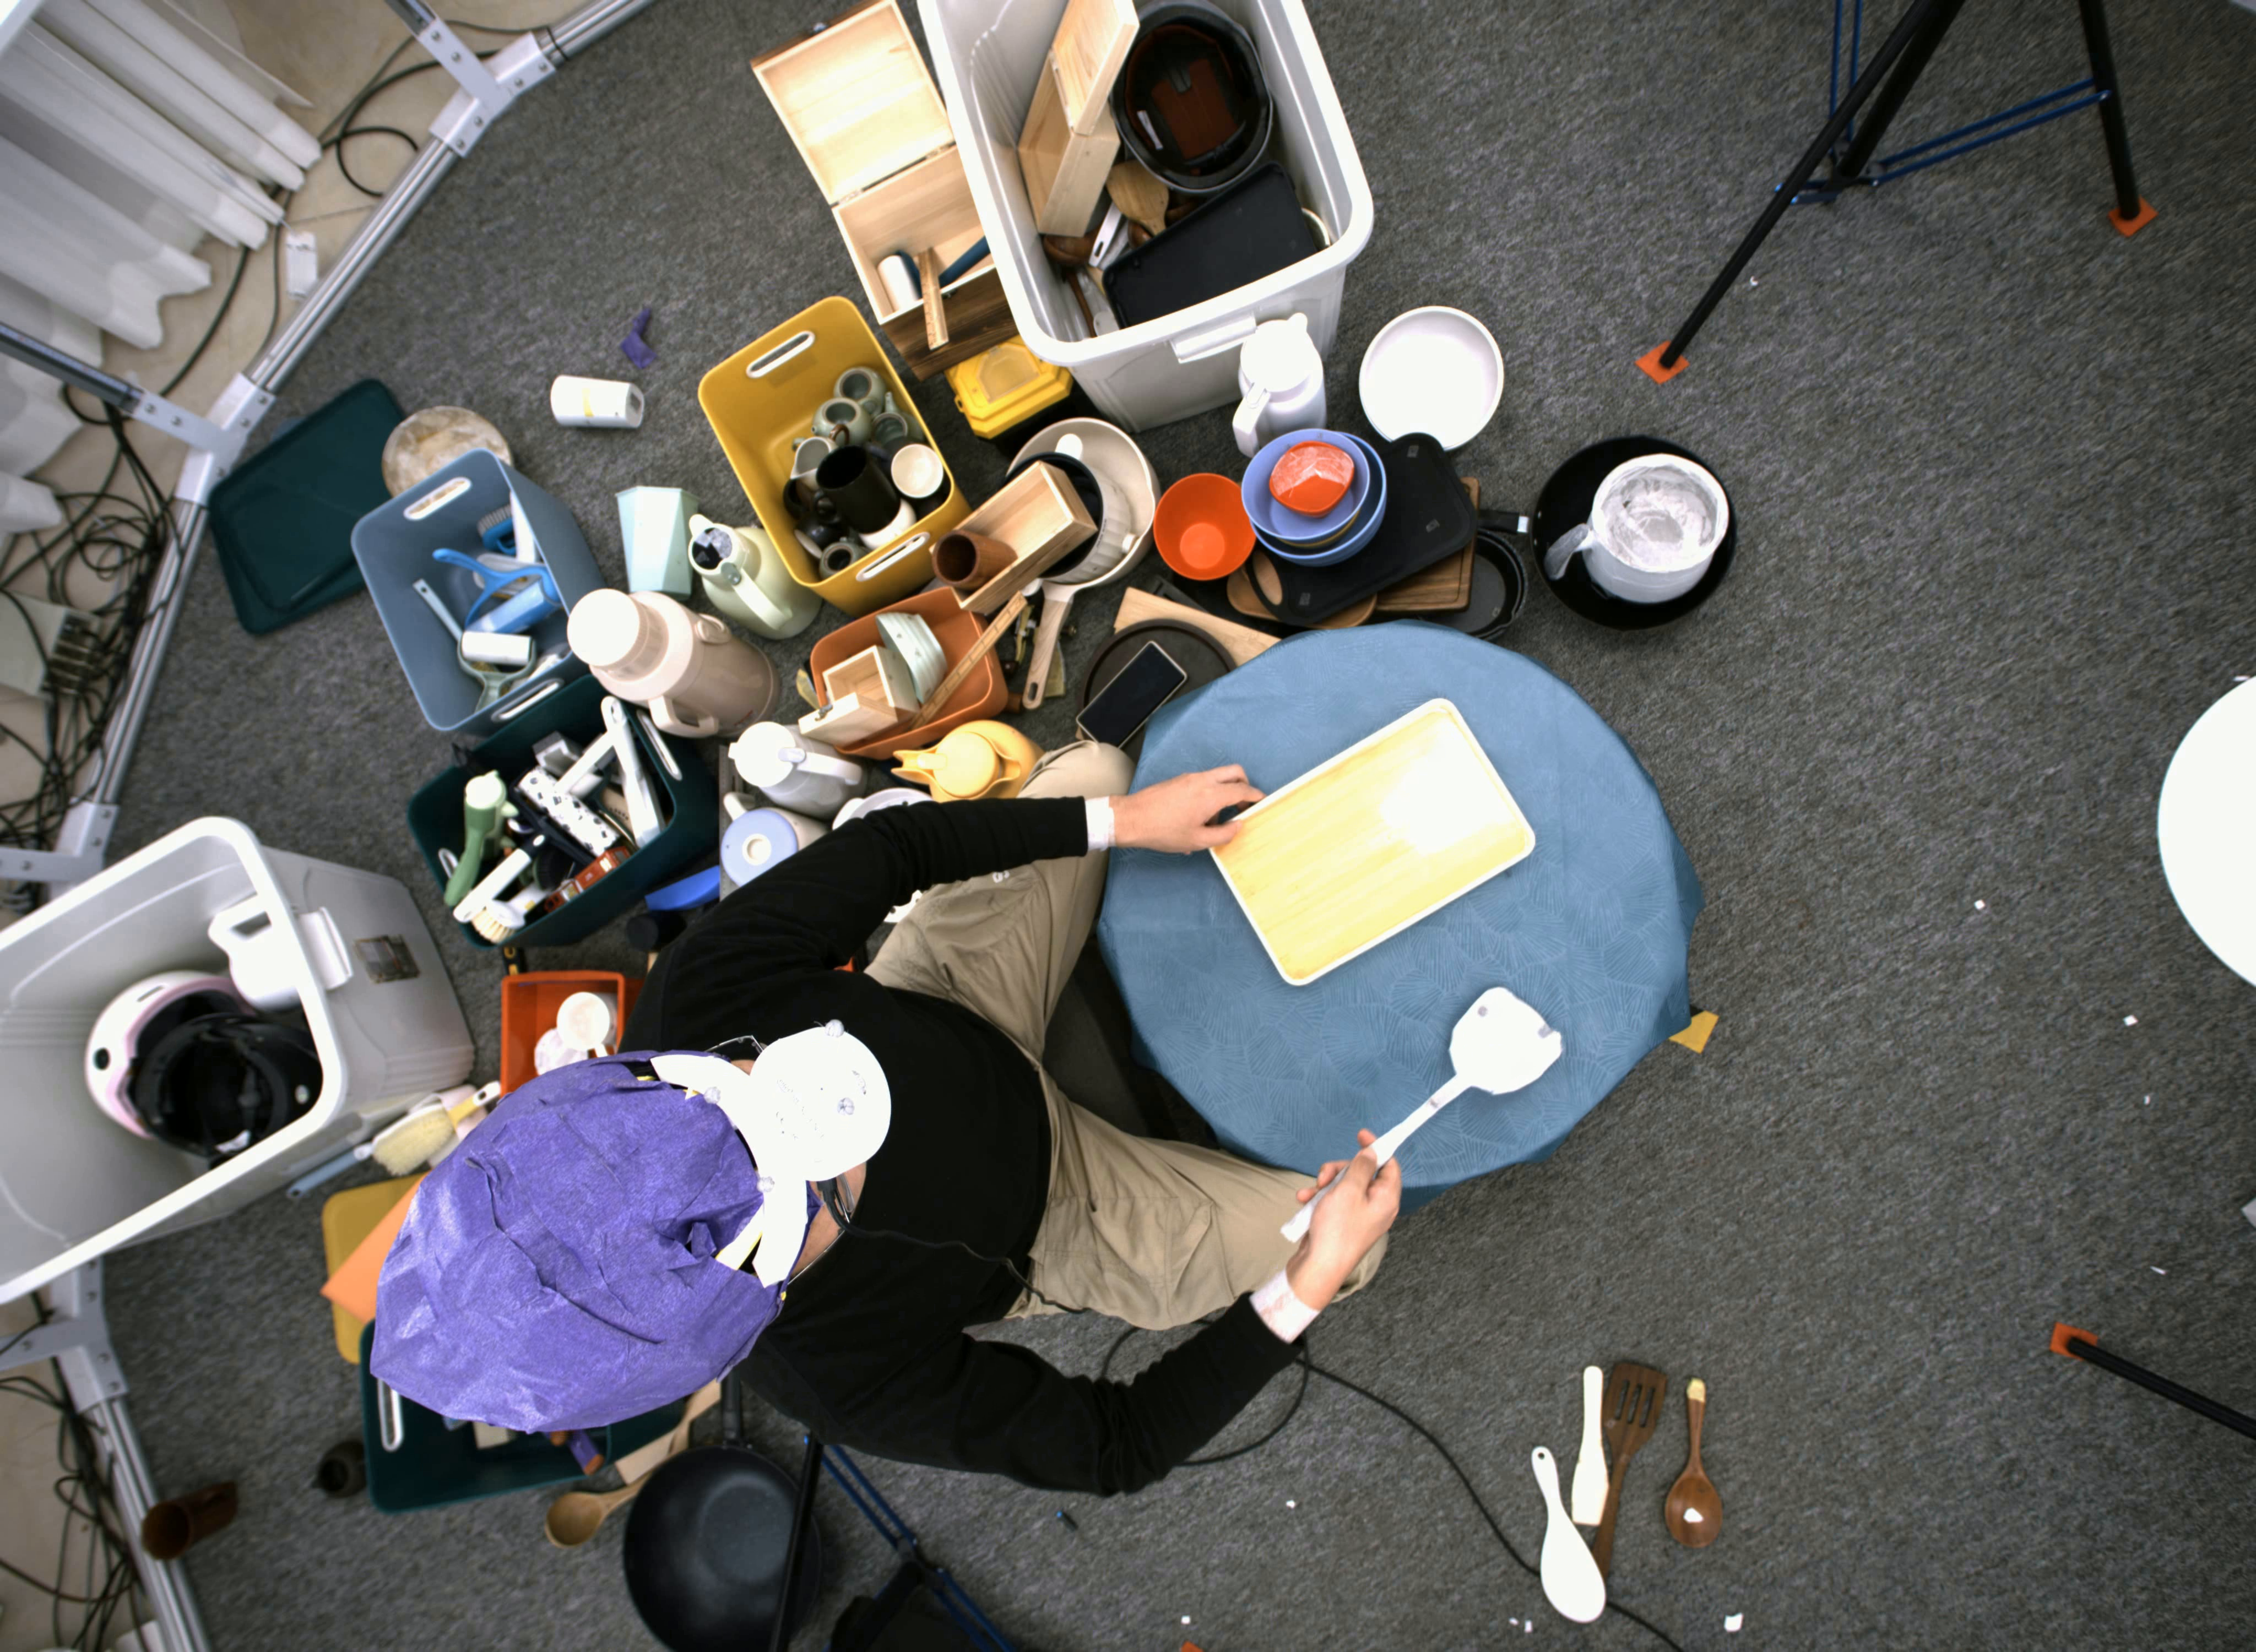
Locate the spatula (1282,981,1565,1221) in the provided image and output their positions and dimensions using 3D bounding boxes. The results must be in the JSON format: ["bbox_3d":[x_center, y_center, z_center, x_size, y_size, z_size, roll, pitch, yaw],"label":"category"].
[{"bbox_3d":[0.283,0.269,1.328,0.359,0.046,0.098,-30,63,-31],"label":"spatula"}]

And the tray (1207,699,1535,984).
[{"bbox_3d":[0.253,0.015,1.452,0.302,0.027,0.190,-31,82,7],"label":"tray"}]
